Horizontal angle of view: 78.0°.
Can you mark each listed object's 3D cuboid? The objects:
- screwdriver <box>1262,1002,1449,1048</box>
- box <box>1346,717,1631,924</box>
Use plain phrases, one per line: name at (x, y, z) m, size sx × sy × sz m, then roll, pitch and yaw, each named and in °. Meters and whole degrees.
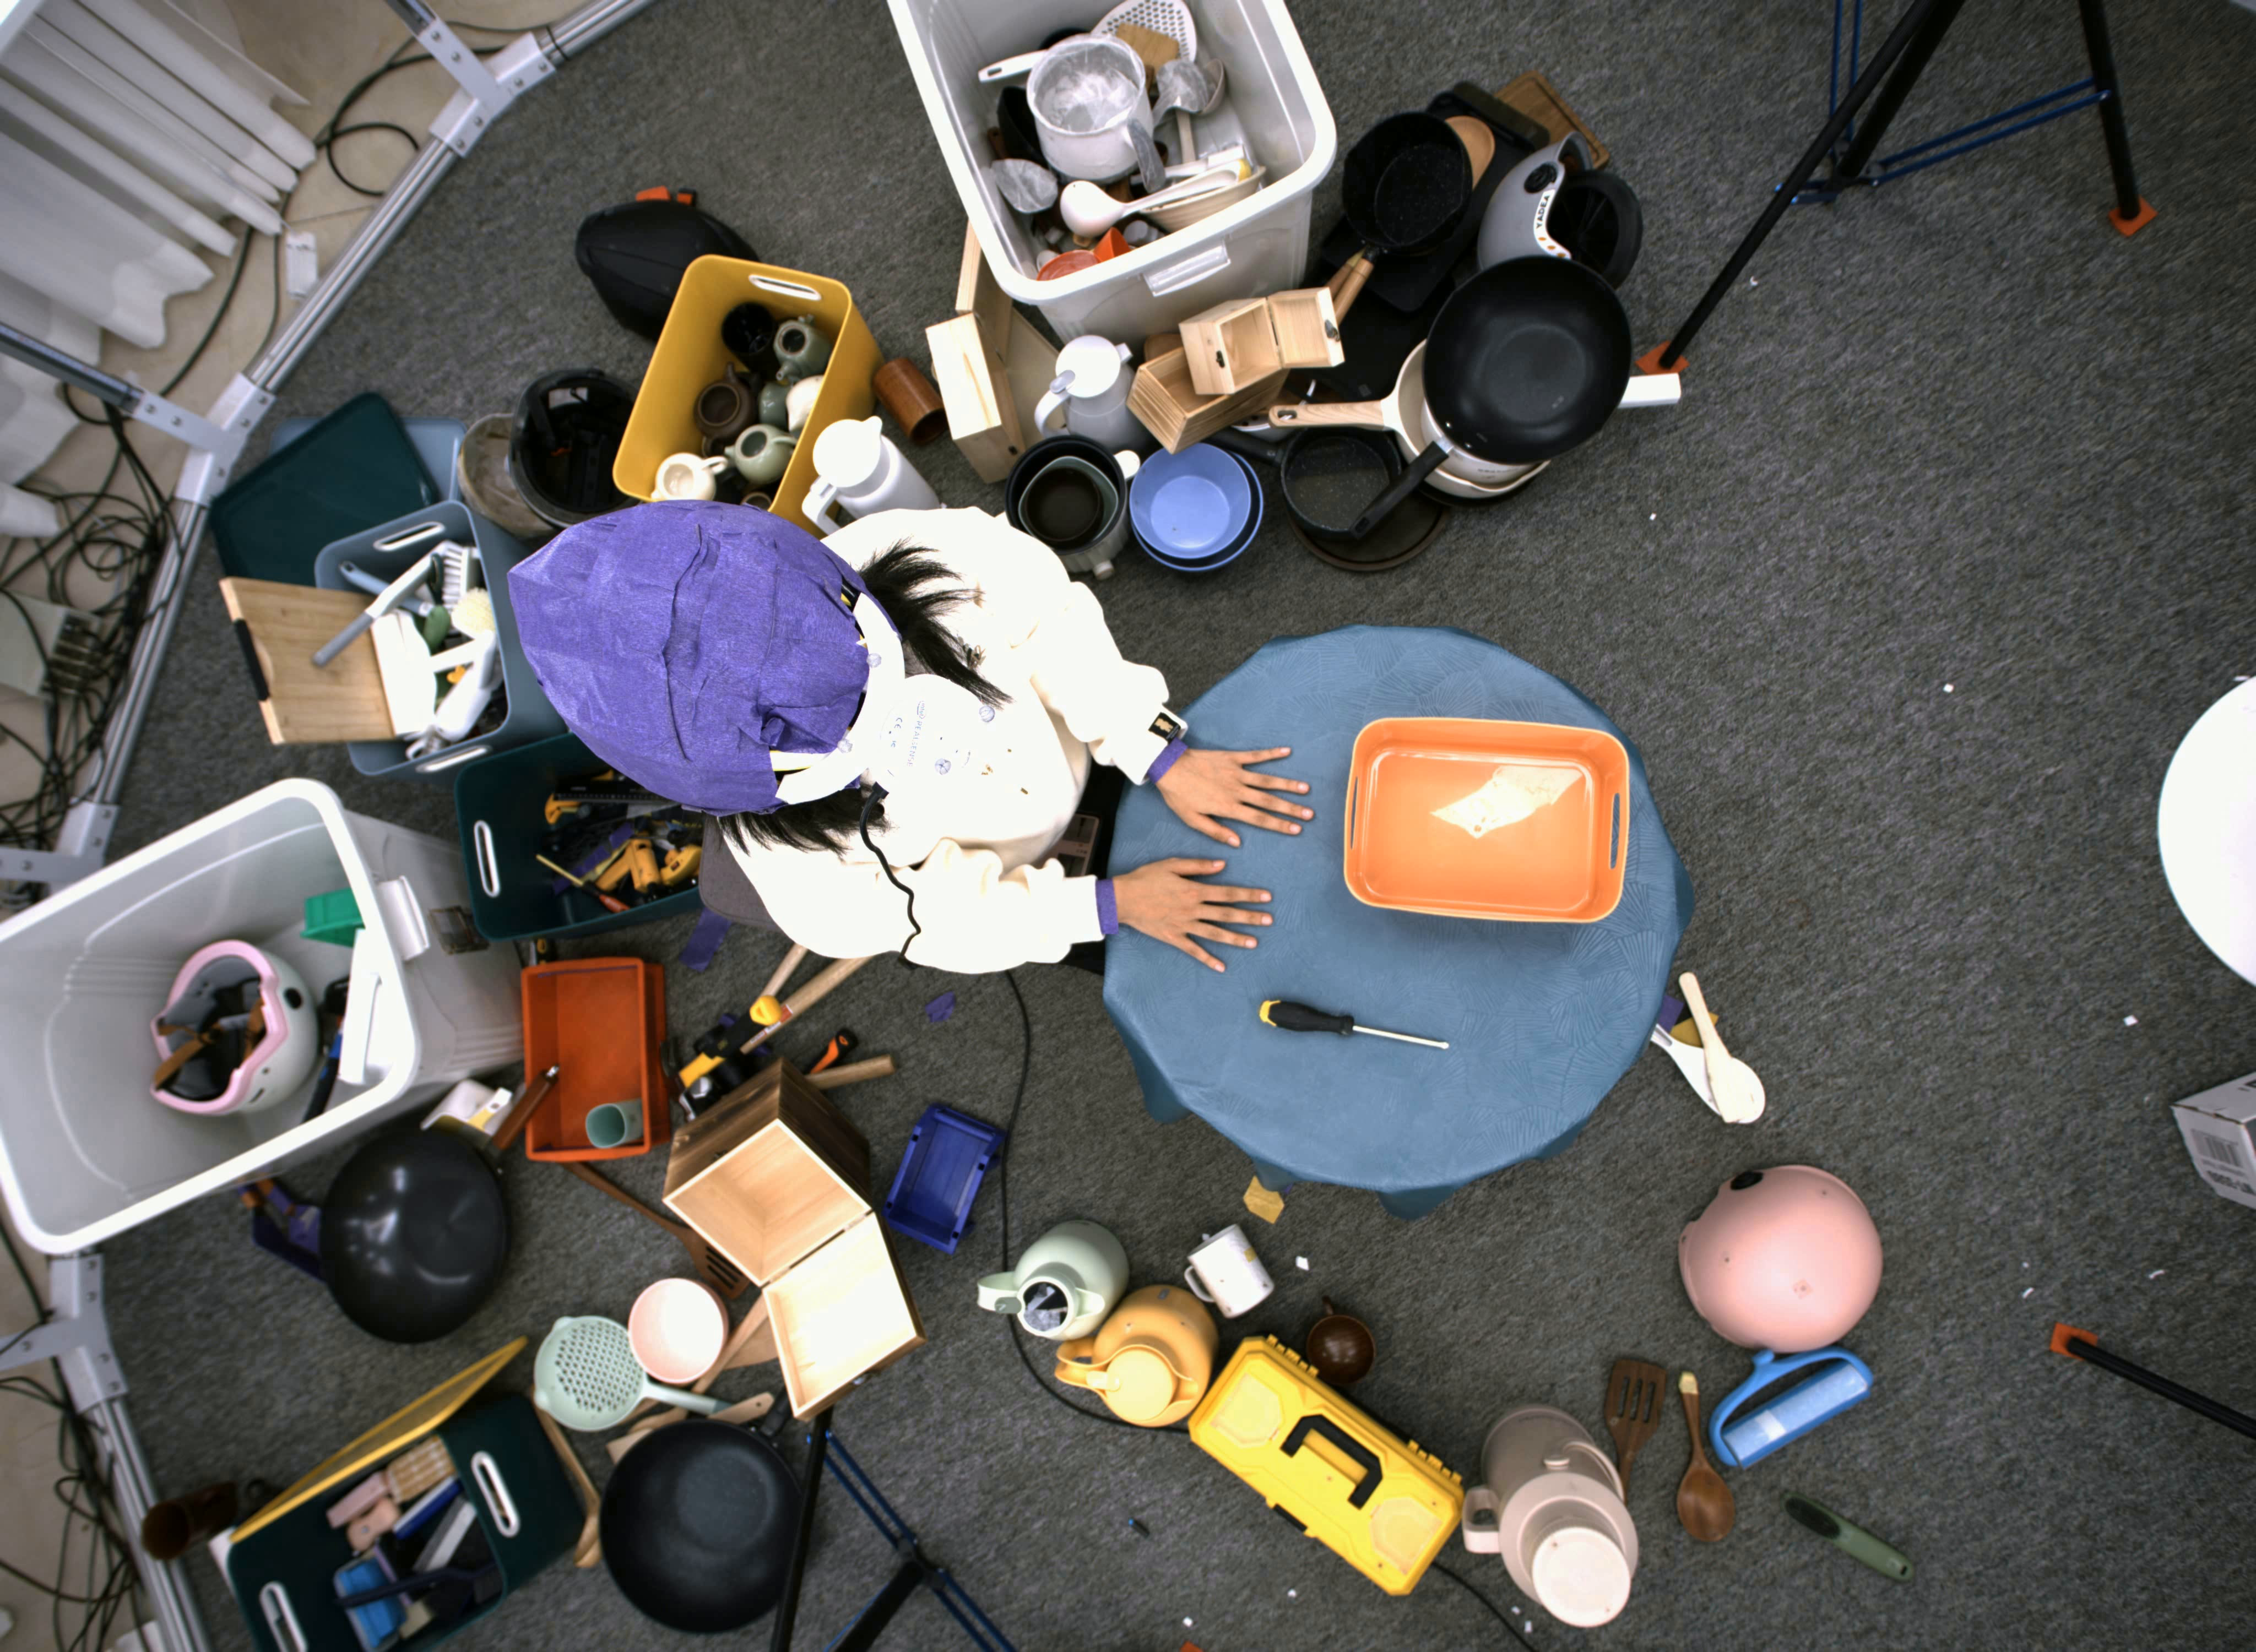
screwdriver at (0.237, 0.214, 1.449) m, size 0.196 × 0.031 × 0.031 m, roll 13°, pitch 87°, yaw 7°
box at (0.360, -0.005, 1.395) m, size 0.274 × 0.102 × 0.199 m, roll 4°, pitch 88°, yaw 10°
